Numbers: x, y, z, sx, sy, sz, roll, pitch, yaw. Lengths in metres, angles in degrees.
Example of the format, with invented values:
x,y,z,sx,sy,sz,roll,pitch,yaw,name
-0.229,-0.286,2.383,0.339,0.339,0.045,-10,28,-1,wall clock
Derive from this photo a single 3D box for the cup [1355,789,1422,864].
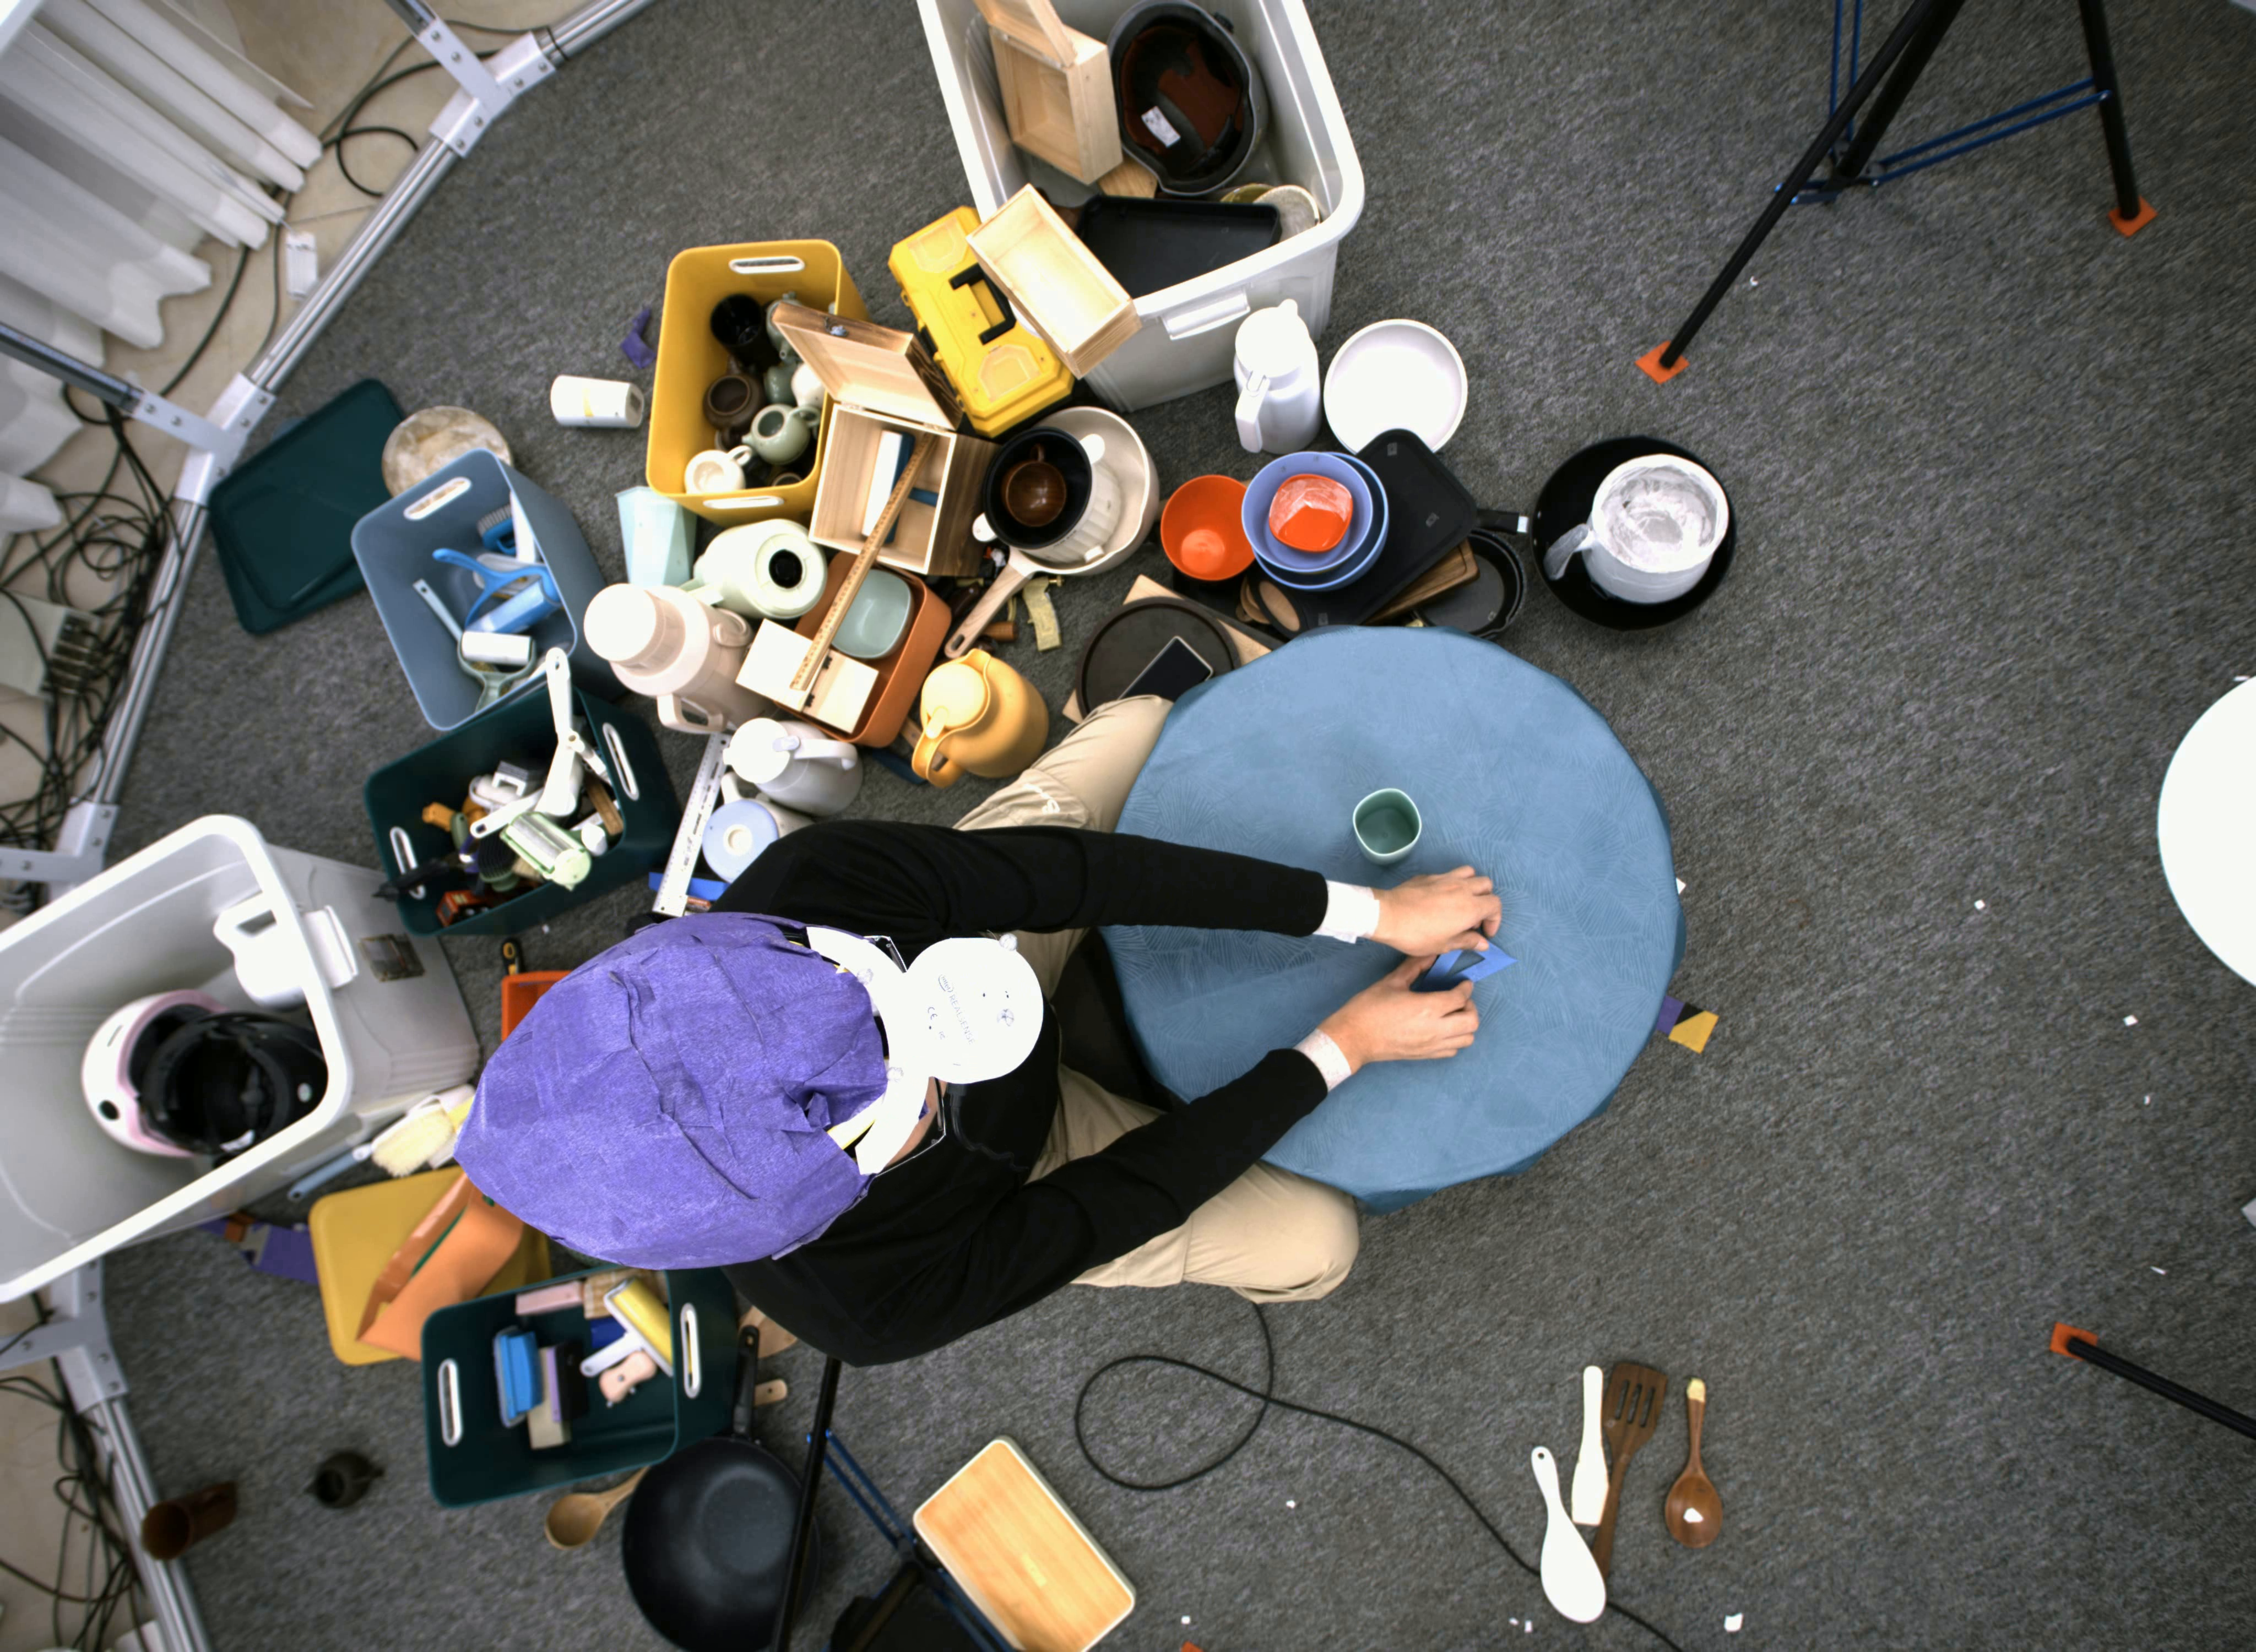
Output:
x,y,z,sx,sy,sz,roll,pitch,yaw,name
0.262,0.002,1.403,0.067,0.132,0.066,-1,84,9,cup

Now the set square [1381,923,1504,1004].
x,y,z,sx,sy,sz,roll,pitch,yaw,name
0.320,0.139,1.436,0.133,0.006,0.061,-21,99,8,set square
